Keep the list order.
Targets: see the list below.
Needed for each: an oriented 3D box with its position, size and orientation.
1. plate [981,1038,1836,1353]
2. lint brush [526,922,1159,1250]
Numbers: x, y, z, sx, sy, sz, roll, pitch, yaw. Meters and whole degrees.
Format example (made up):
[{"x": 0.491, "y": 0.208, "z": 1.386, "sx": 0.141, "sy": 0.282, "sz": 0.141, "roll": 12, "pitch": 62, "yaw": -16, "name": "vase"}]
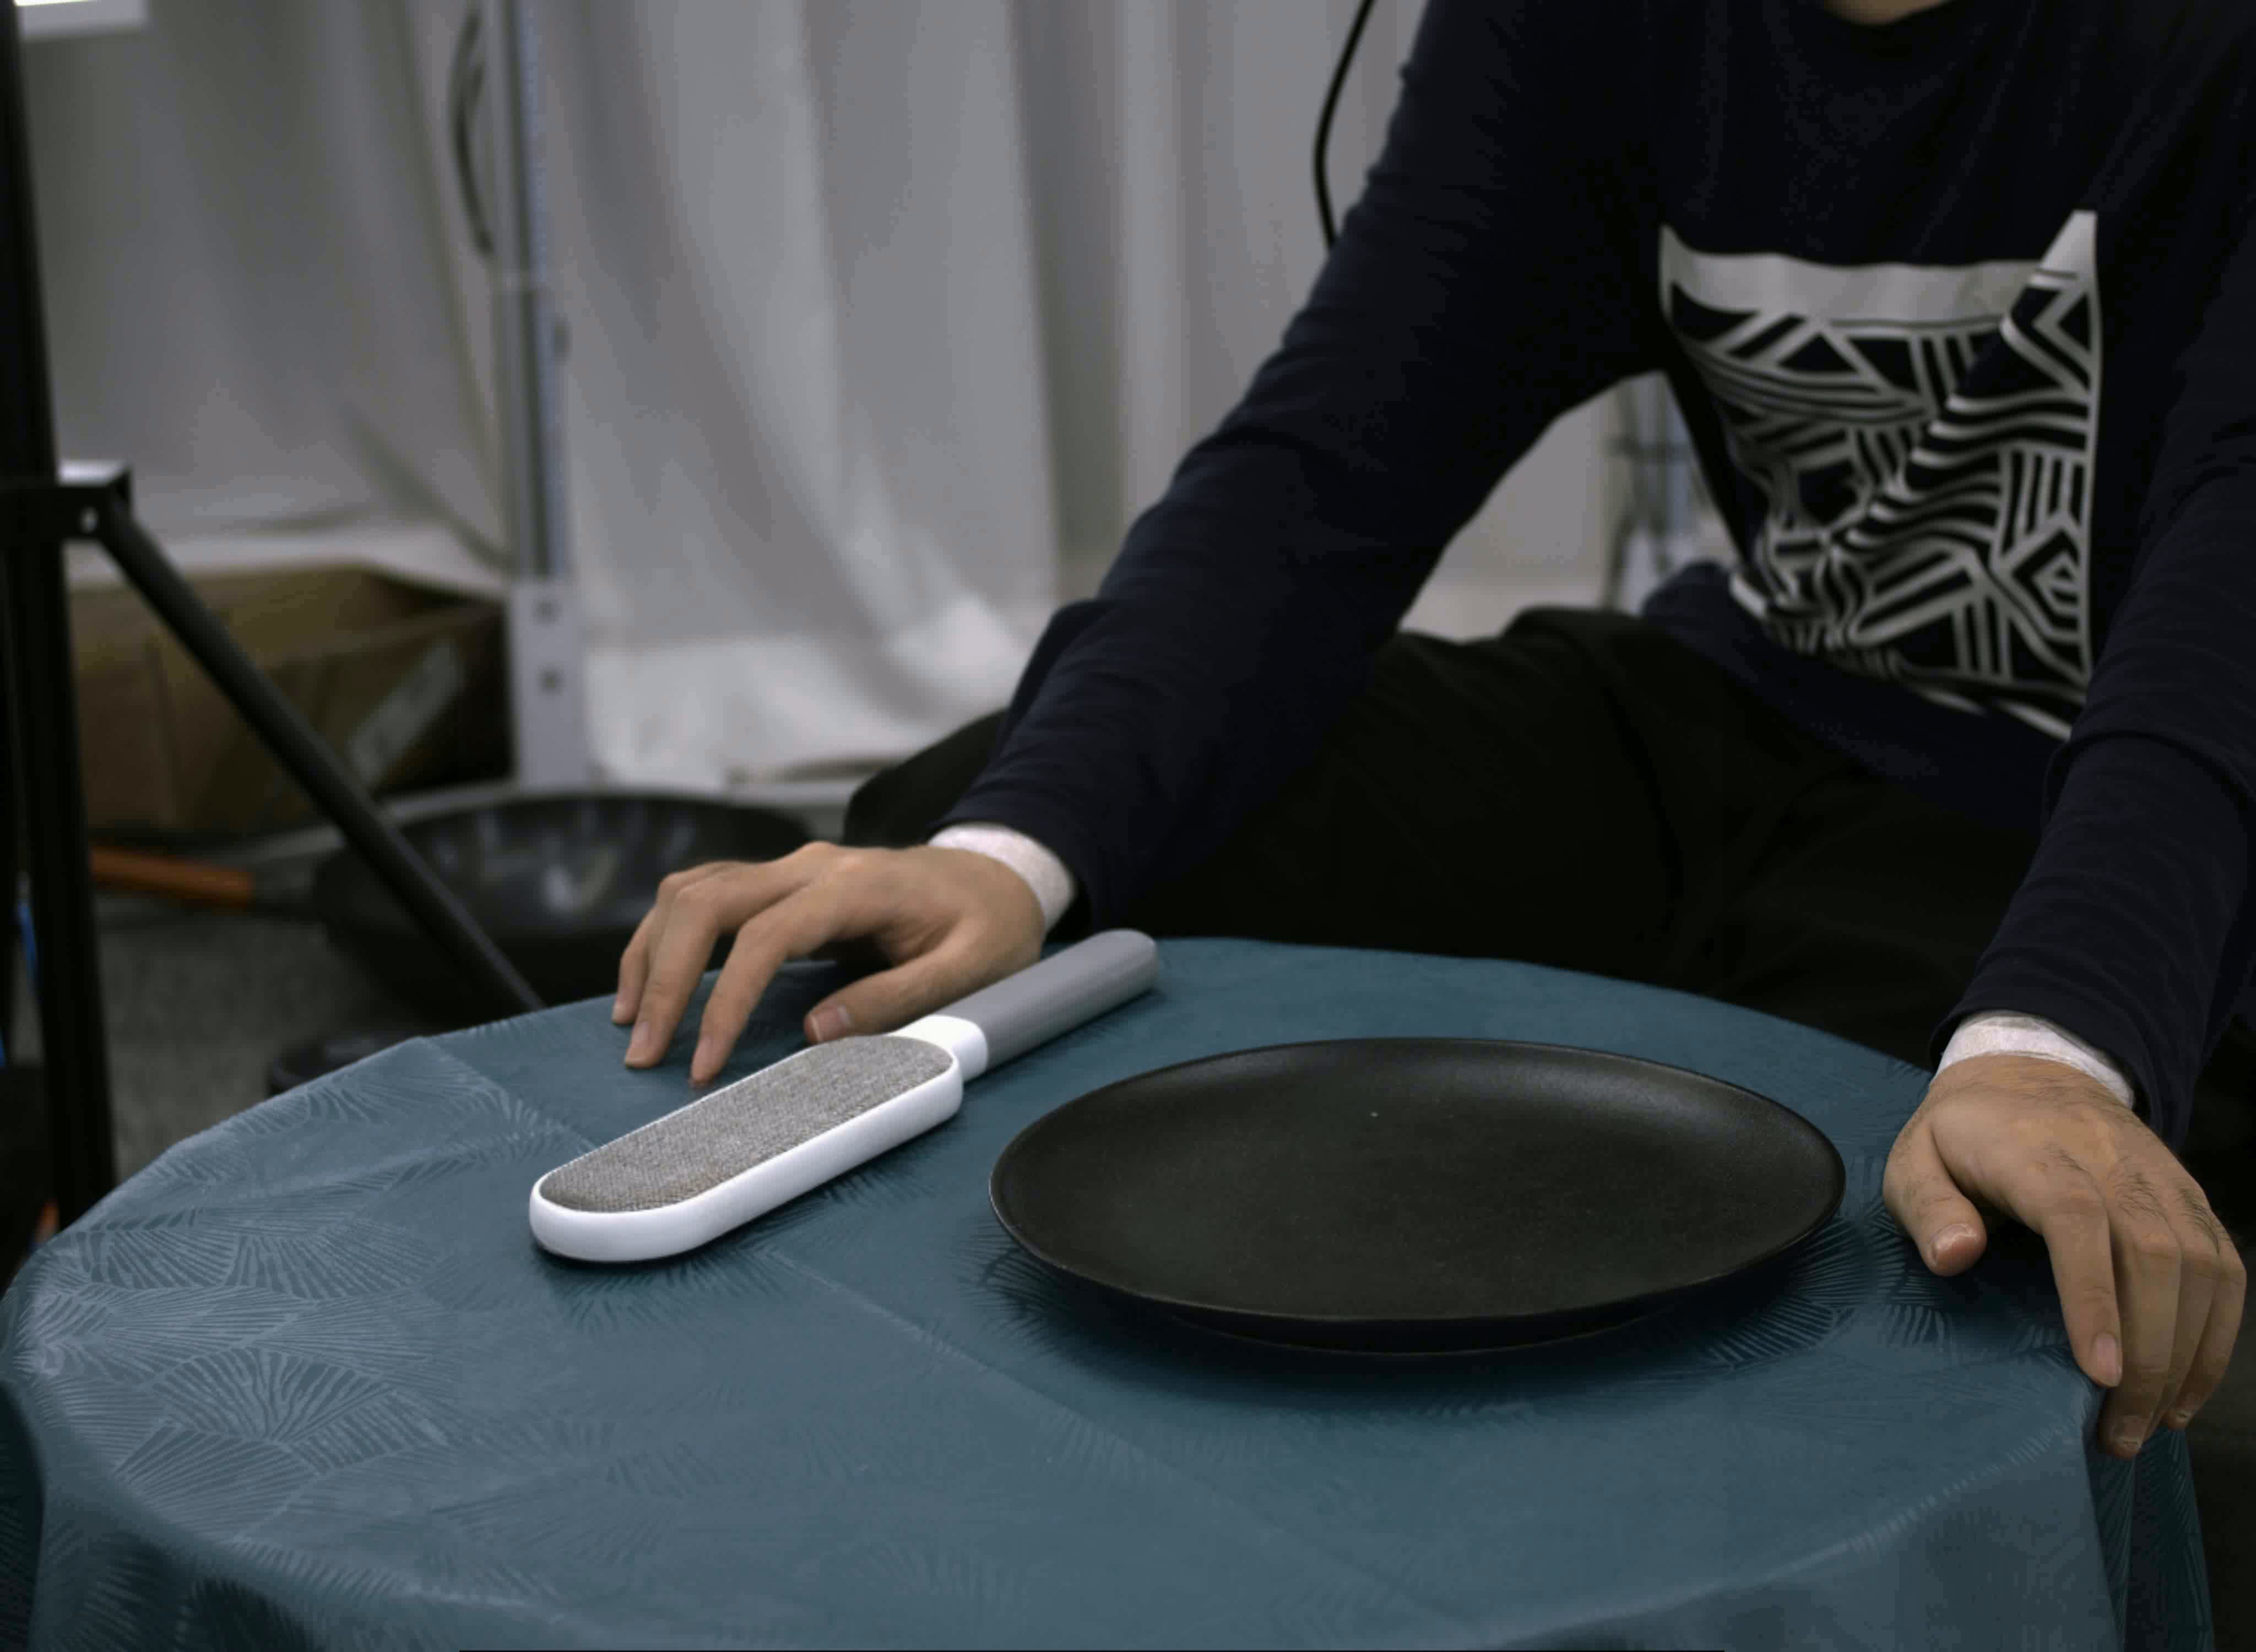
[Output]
[{"x": 0.080, "y": 0.107, "z": 1.510, "sx": 0.243, "sy": 0.023, "sz": 0.245, "roll": -2, "pitch": 16, "yaw": -1, "name": "plate"}, {"x": -0.077, "y": 0.077, "z": 1.635, "sx": 0.061, "sy": 0.021, "sz": 0.303, "roll": 2, "pitch": 15, "yaw": 34, "name": "lint brush"}]
